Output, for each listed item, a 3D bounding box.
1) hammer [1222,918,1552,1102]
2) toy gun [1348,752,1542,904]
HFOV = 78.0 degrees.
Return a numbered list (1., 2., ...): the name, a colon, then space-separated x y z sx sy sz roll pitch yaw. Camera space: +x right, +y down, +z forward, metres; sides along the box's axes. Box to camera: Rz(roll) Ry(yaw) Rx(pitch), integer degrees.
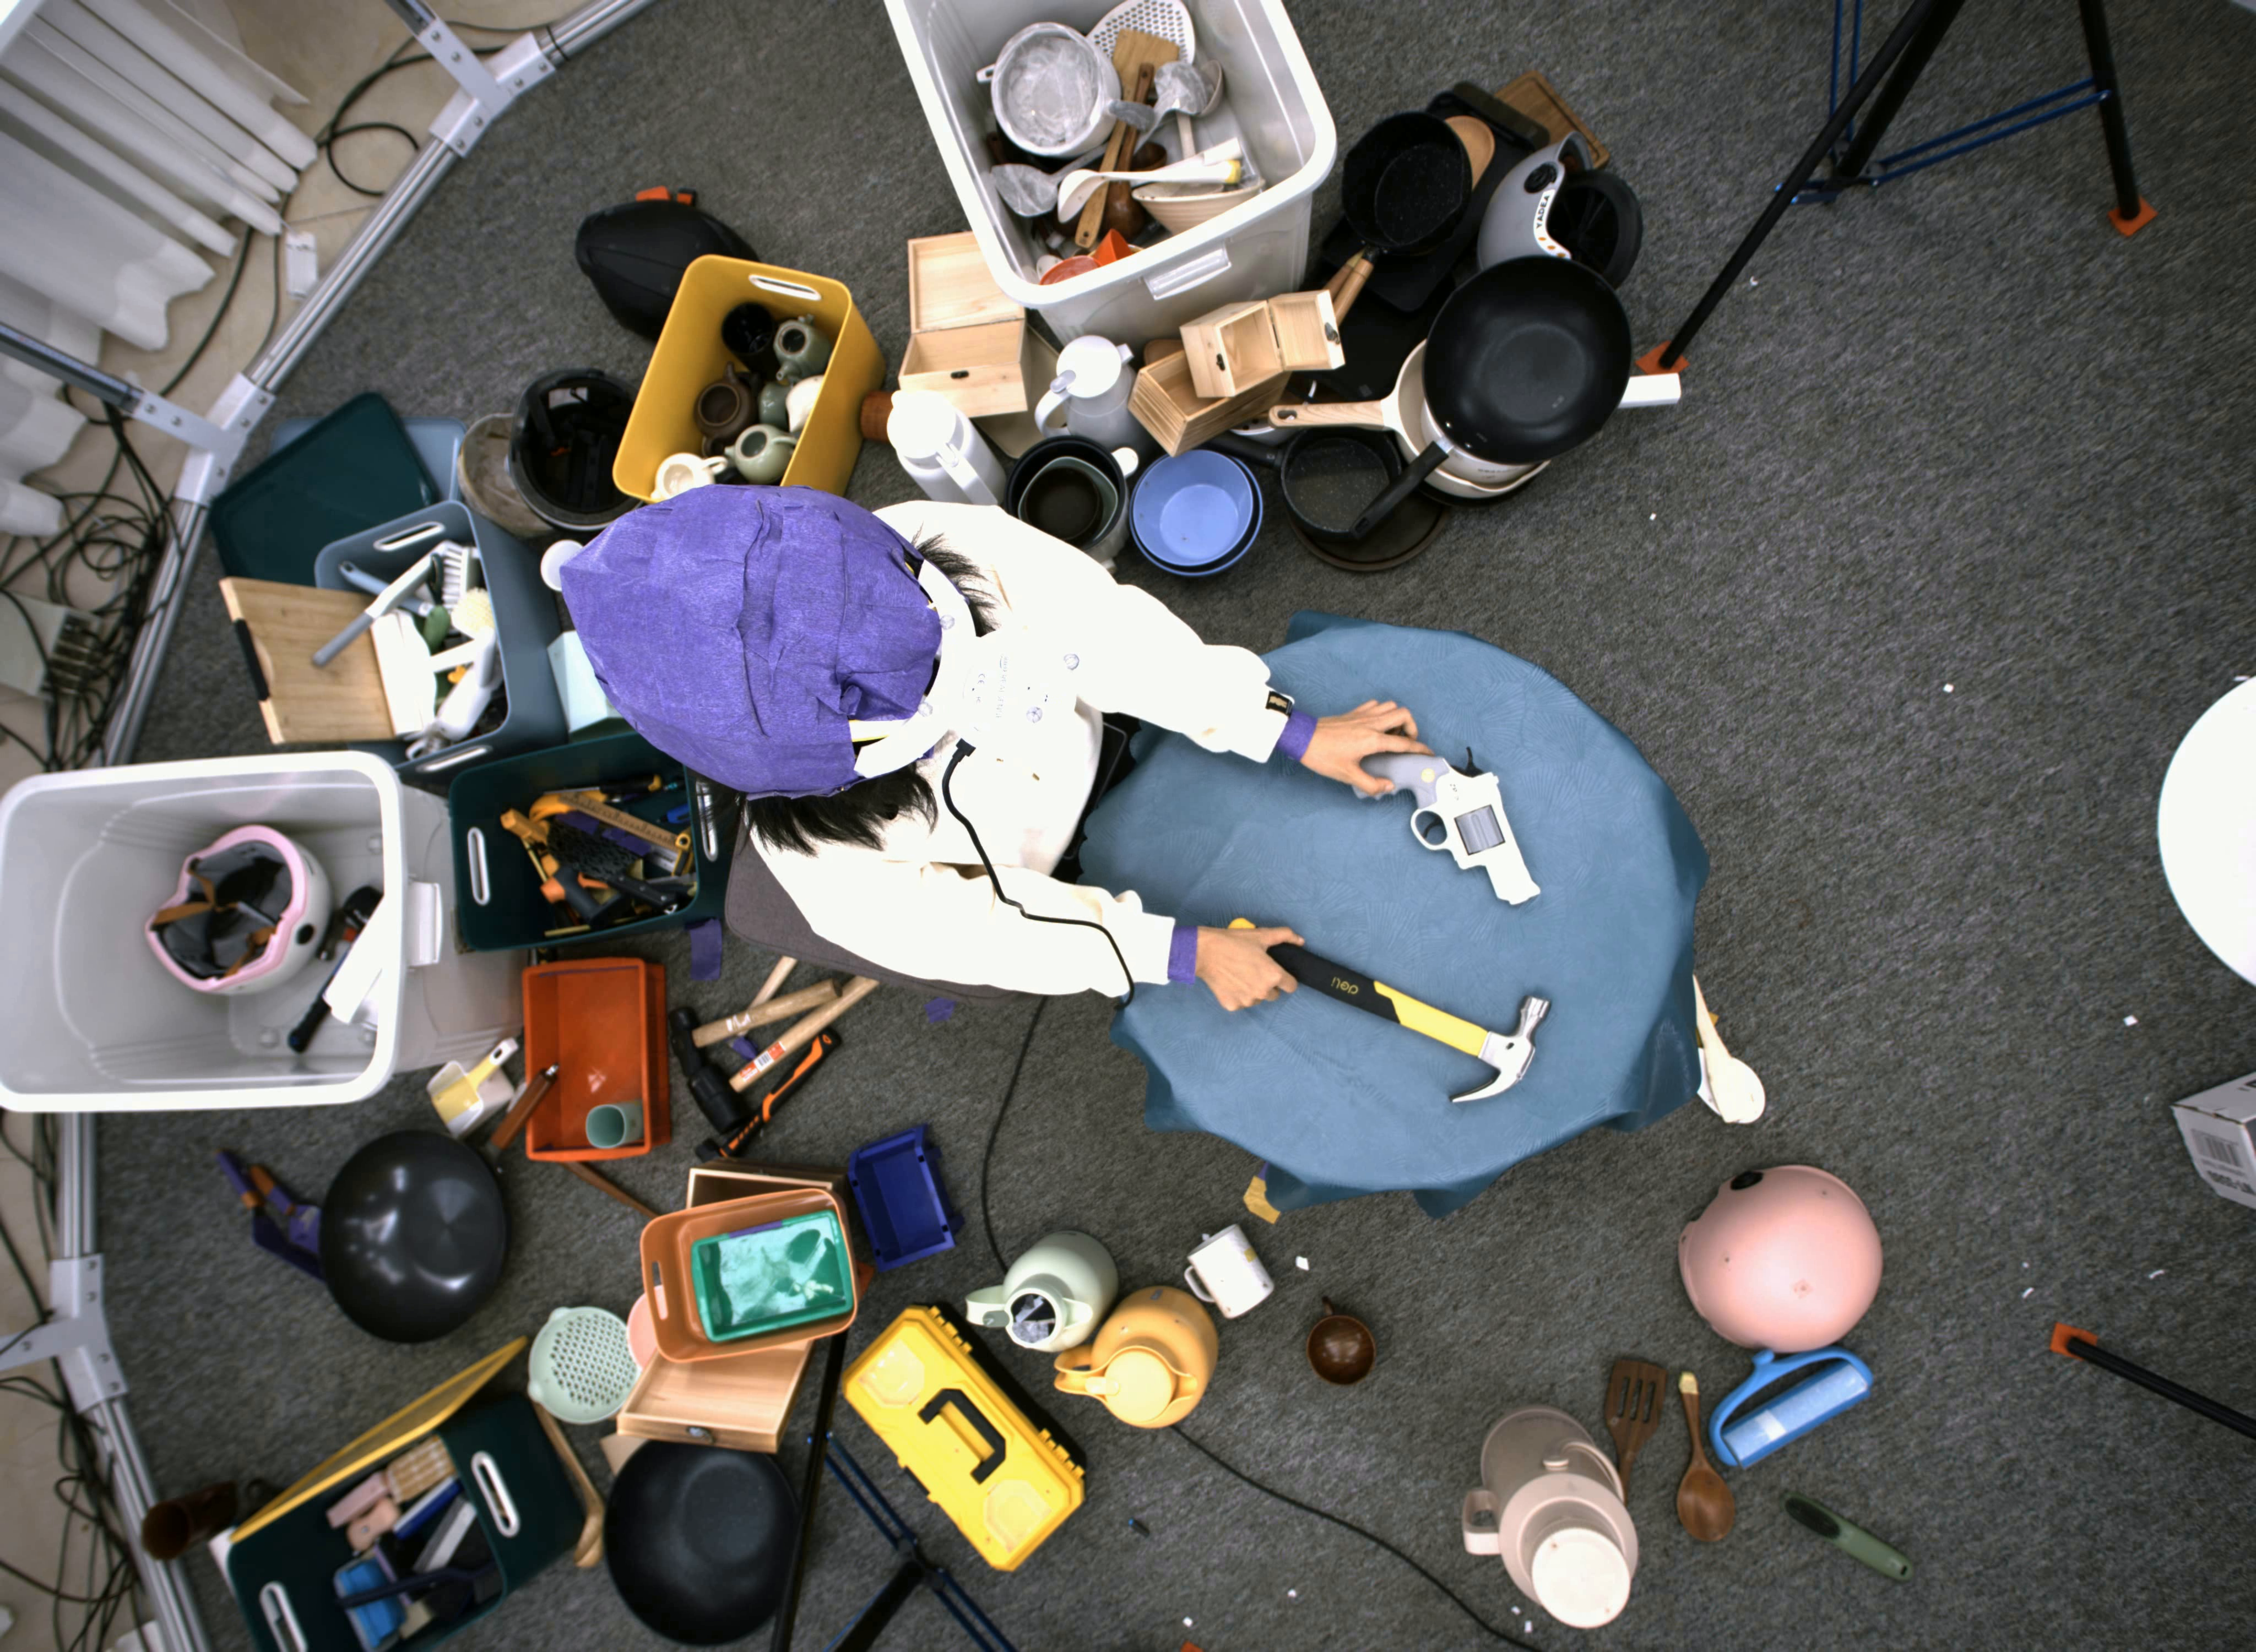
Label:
1. hammer: 0.257 0.176 1.438 0.338 0.032 0.131 23 93 10
2. toy gun: 0.326 -0.002 1.434 0.143 0.038 0.209 -23 91 17
